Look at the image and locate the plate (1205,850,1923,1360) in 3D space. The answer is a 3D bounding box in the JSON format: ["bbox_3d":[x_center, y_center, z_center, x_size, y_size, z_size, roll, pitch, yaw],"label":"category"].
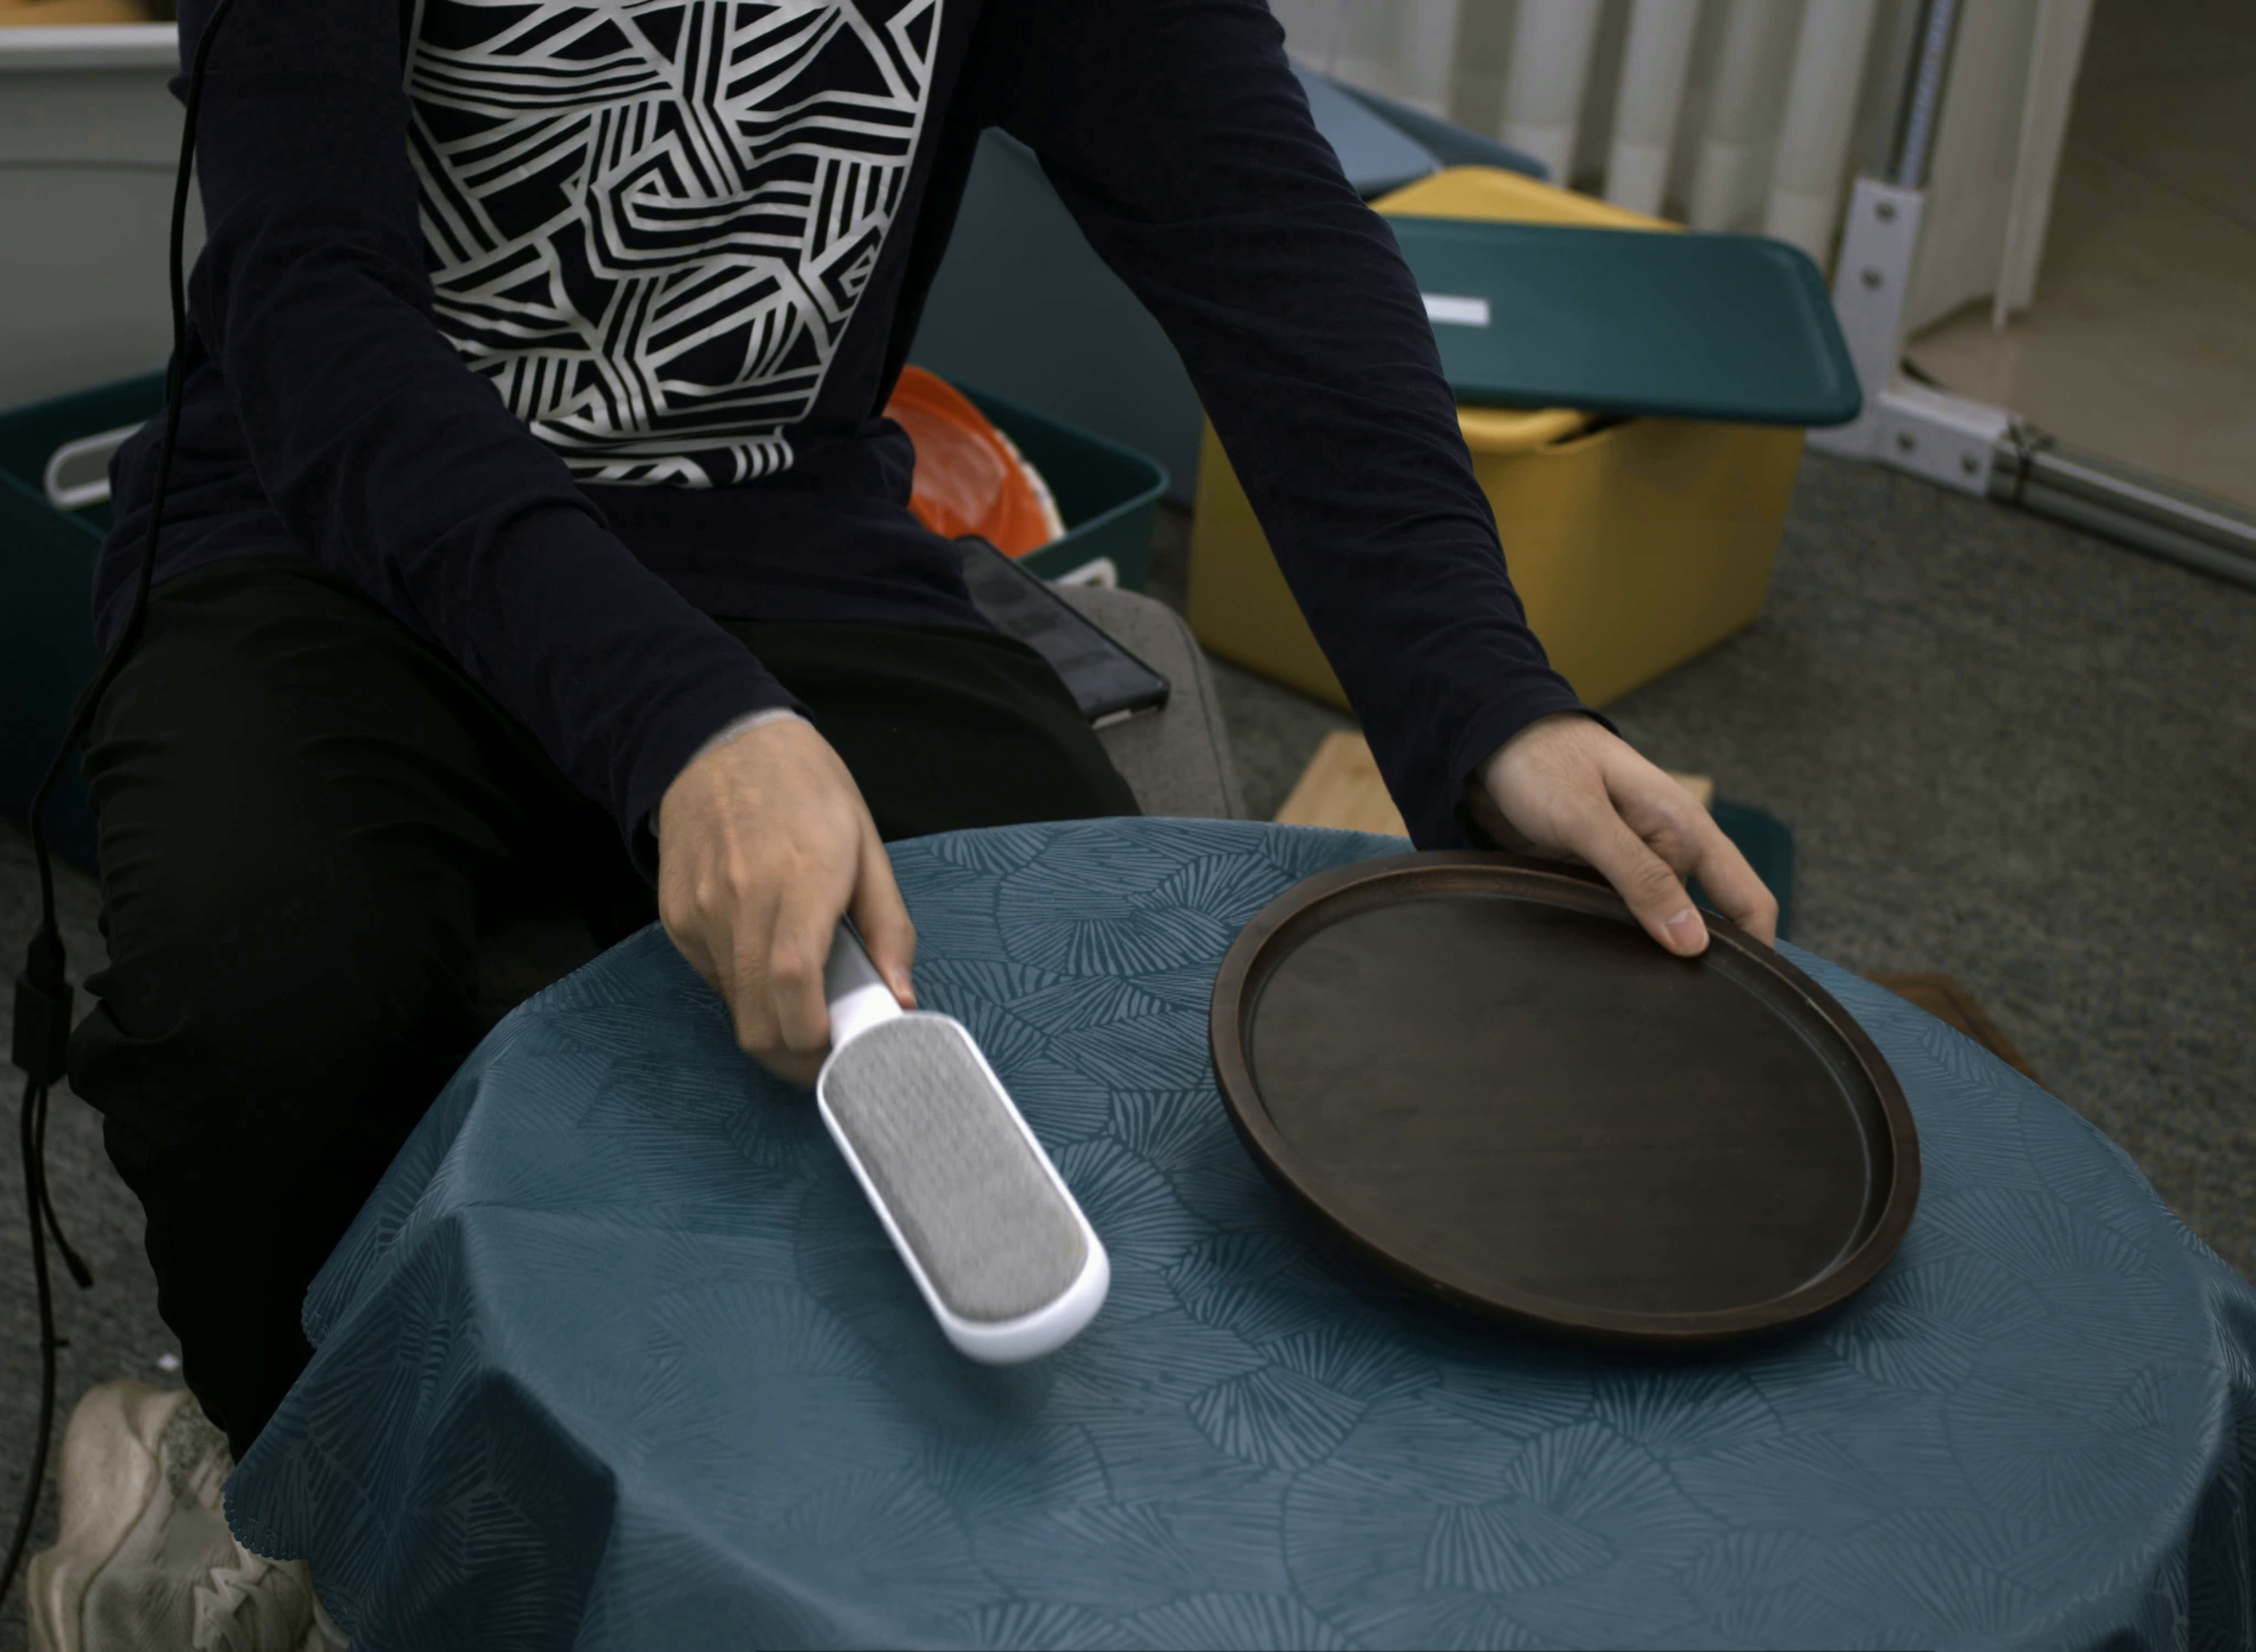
[{"bbox_3d":[0.149,0.094,1.825,0.253,0.029,0.257,10,35,-8],"label":"plate"}]

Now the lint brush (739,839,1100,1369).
[{"bbox_3d":[-0.077,0.085,1.769,0.060,0.021,0.312,-32,35,-2],"label":"lint brush"}]
